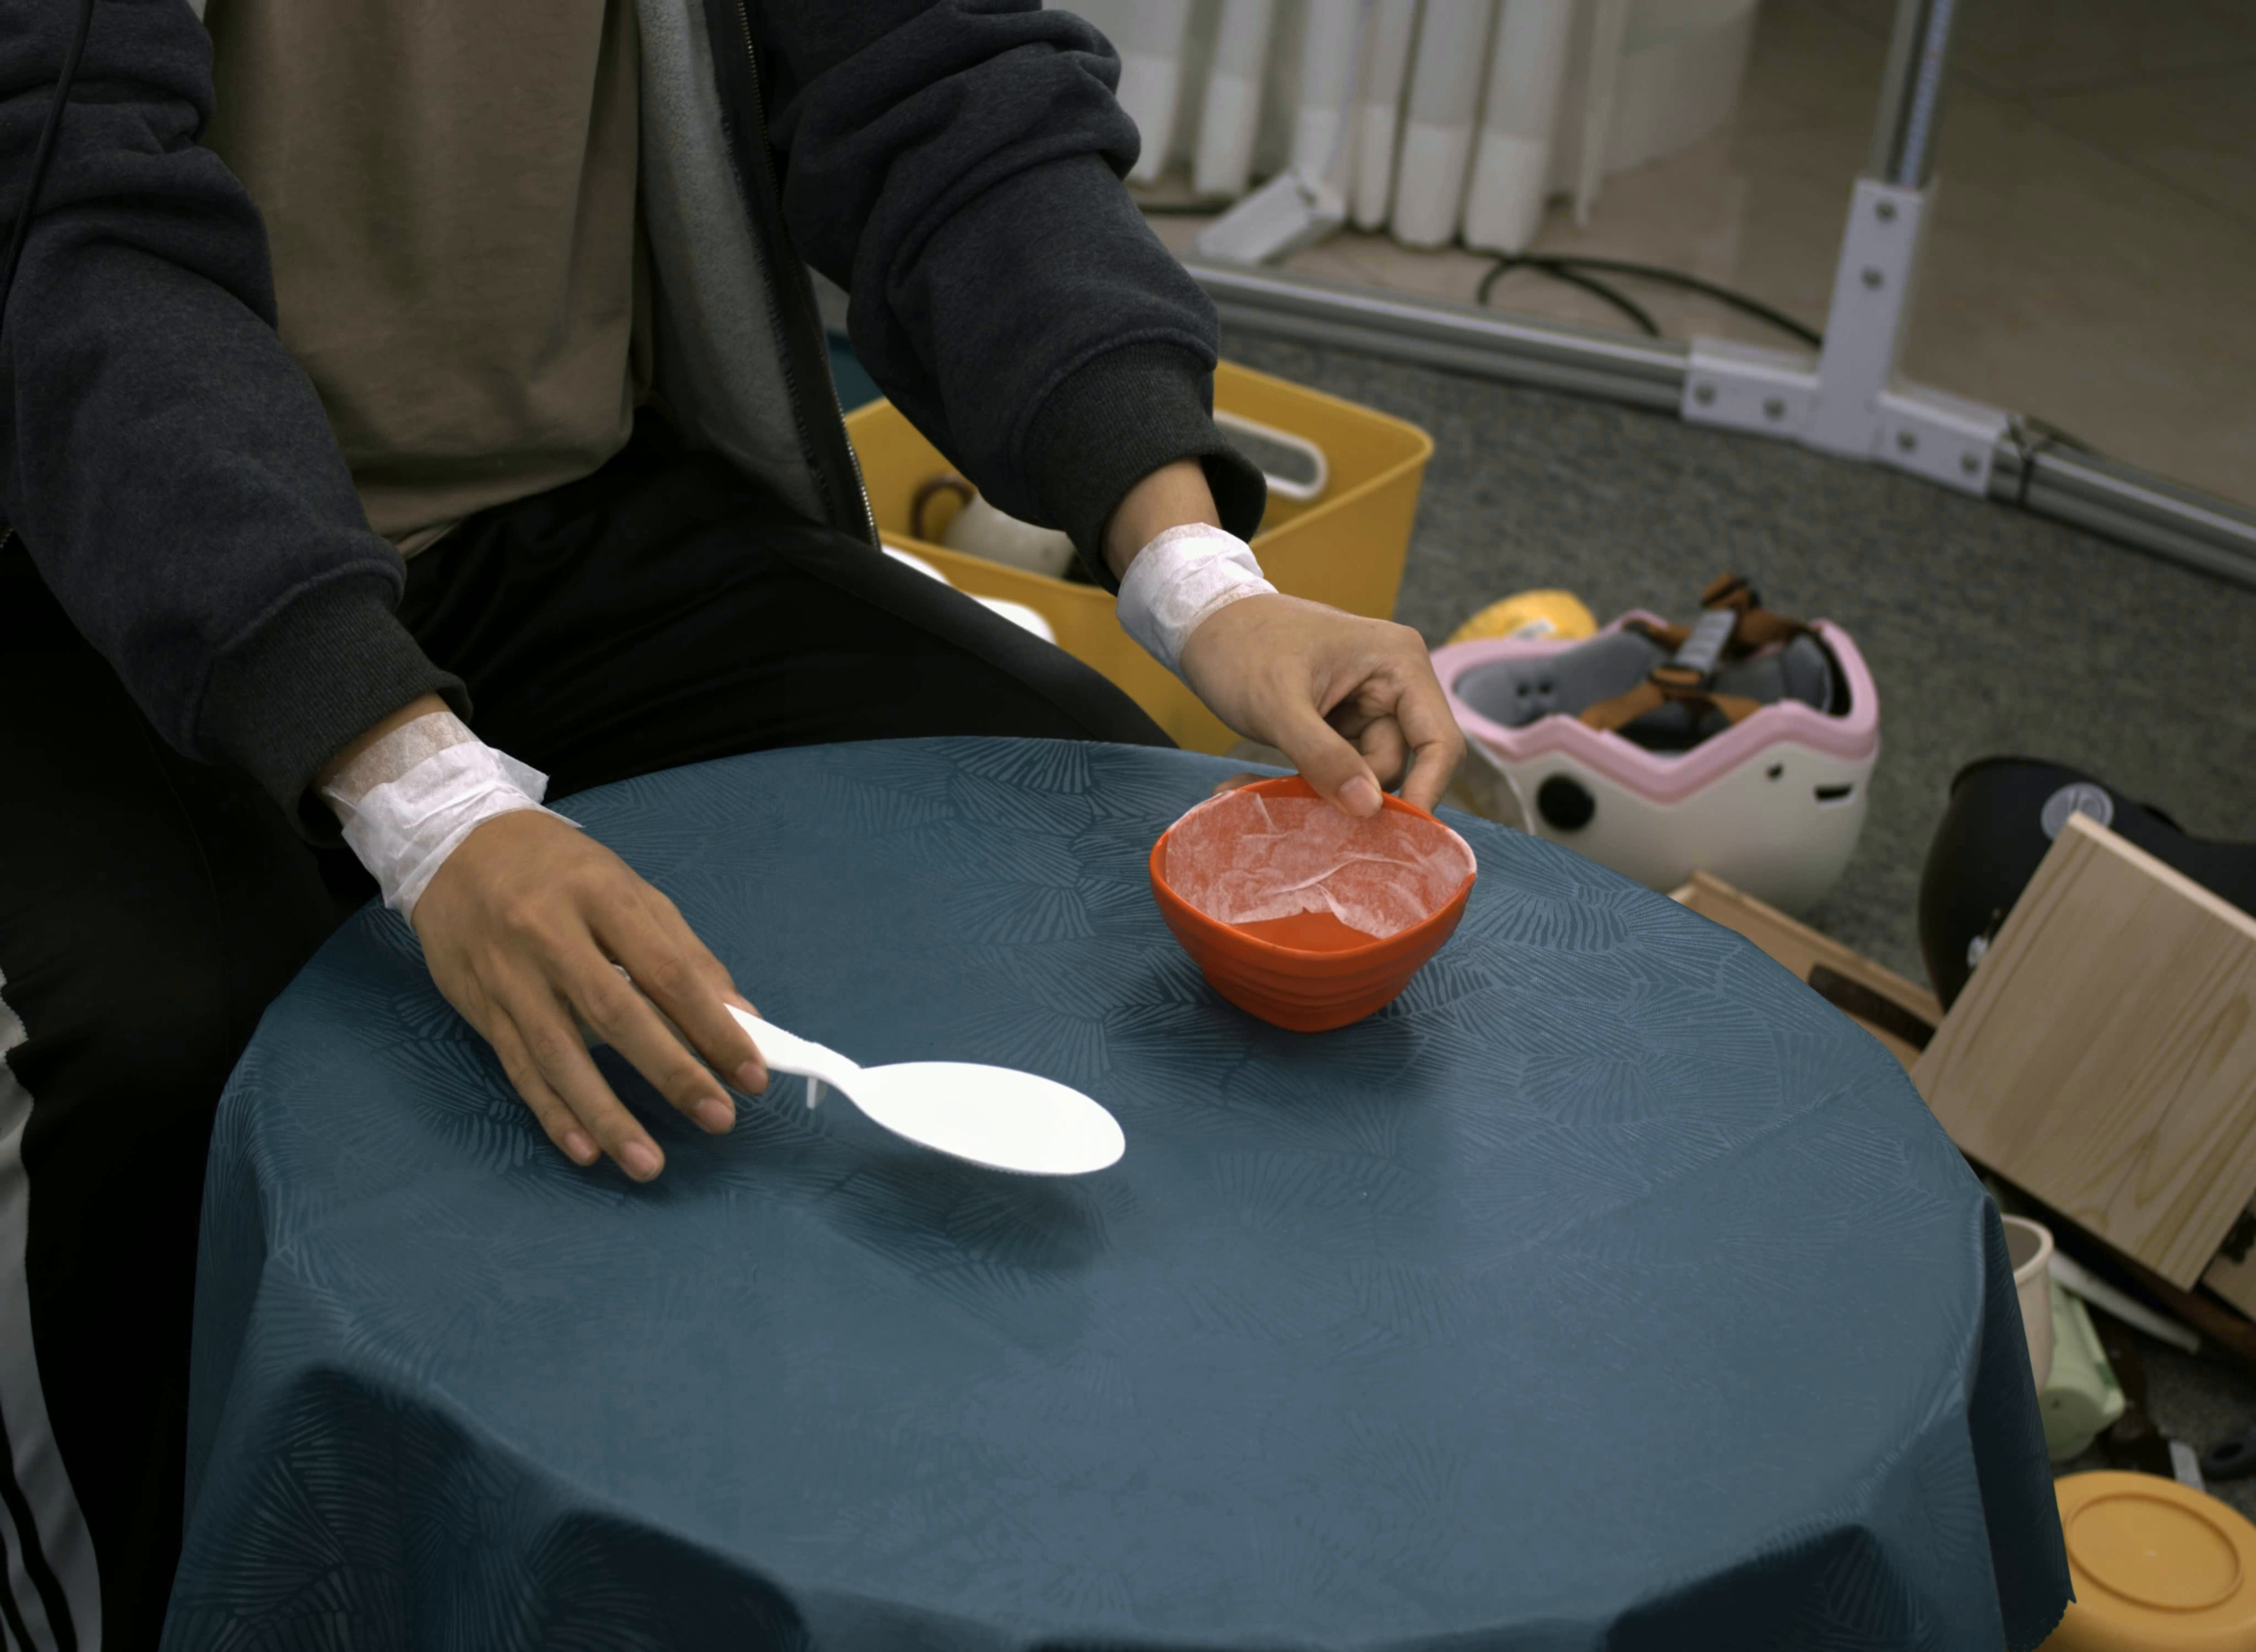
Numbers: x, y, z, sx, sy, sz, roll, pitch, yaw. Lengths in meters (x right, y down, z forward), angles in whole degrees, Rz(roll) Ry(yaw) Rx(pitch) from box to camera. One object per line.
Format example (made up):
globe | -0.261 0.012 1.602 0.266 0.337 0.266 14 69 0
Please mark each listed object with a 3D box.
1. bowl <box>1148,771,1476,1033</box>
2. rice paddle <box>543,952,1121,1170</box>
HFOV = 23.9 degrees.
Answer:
bowl | 0.065 0.032 1.928 0.118 0.051 0.120 1 33 -1
rice paddle | -0.099 0.081 1.796 0.205 0.029 0.069 14 26 15
